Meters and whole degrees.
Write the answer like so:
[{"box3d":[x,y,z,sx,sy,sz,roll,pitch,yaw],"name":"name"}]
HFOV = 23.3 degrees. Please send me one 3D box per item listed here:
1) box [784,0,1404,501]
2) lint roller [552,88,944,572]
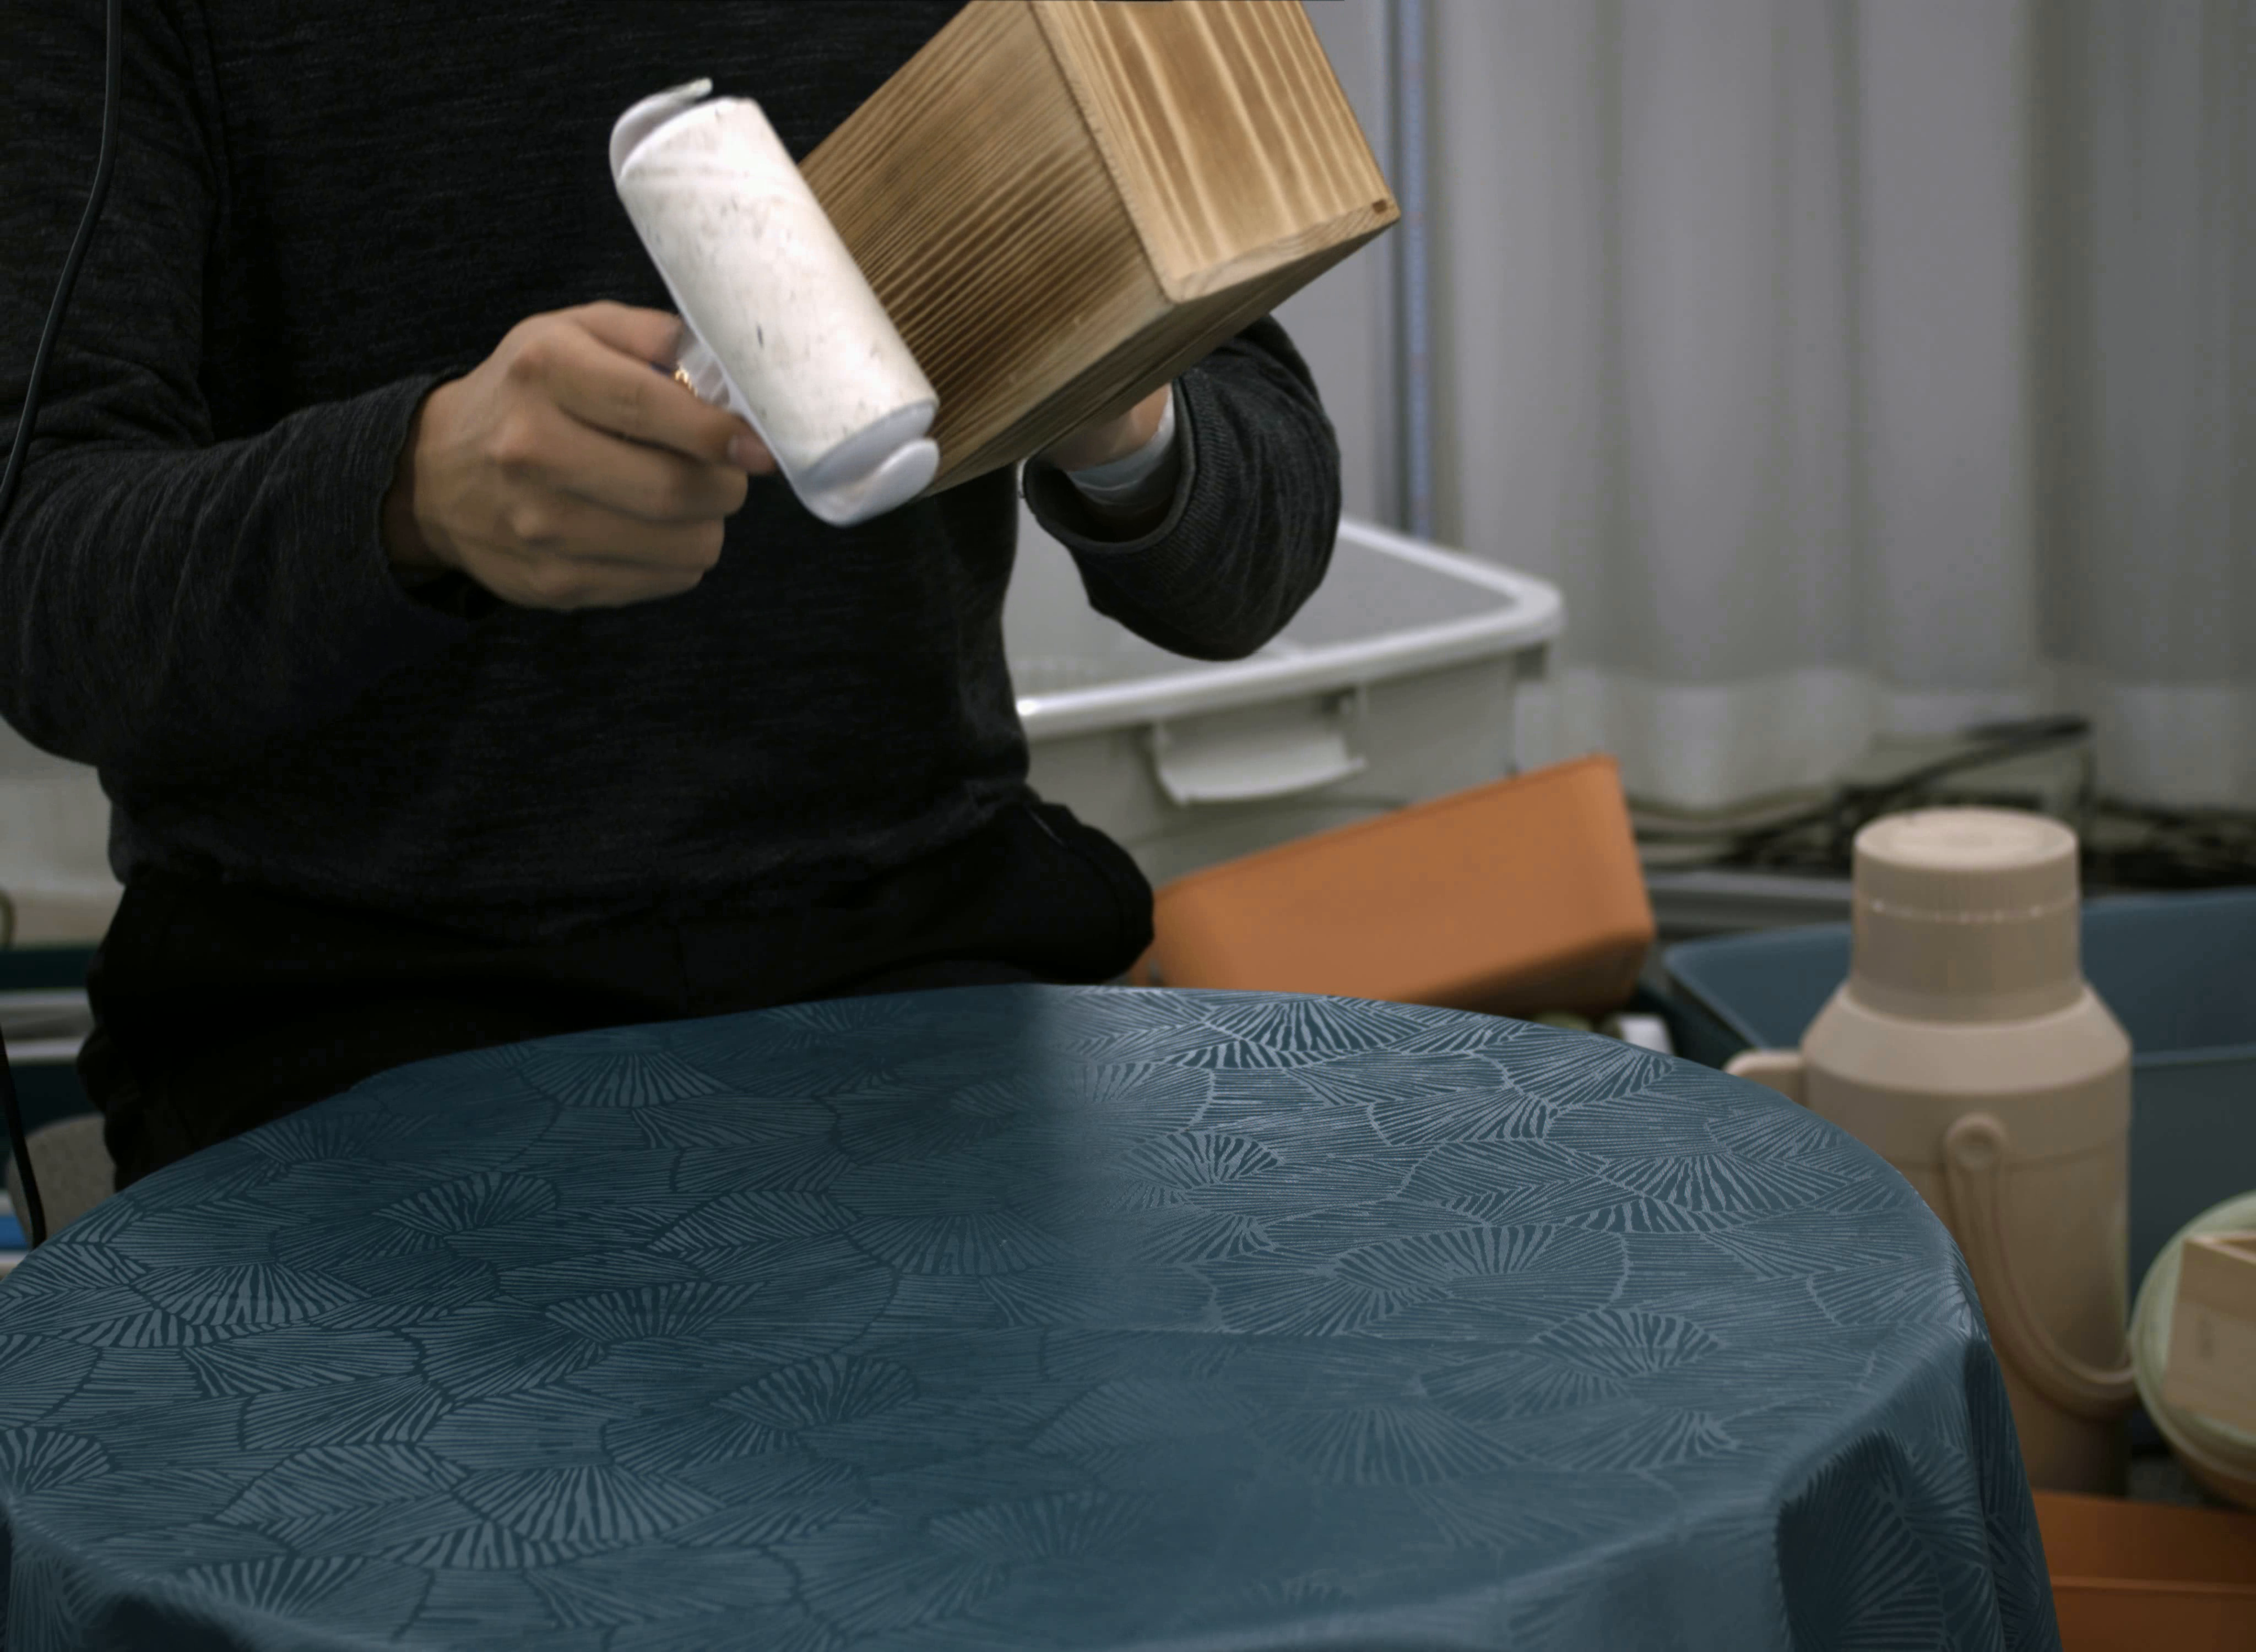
[{"box3d":[-0.018,-0.183,1.605,0.080,0.108,0.211,-23,-2,-26],"name":"box"},{"box3d":[-0.132,-0.118,1.568,0.050,0.133,0.180,-26,-8,-44],"name":"lint roller"}]
